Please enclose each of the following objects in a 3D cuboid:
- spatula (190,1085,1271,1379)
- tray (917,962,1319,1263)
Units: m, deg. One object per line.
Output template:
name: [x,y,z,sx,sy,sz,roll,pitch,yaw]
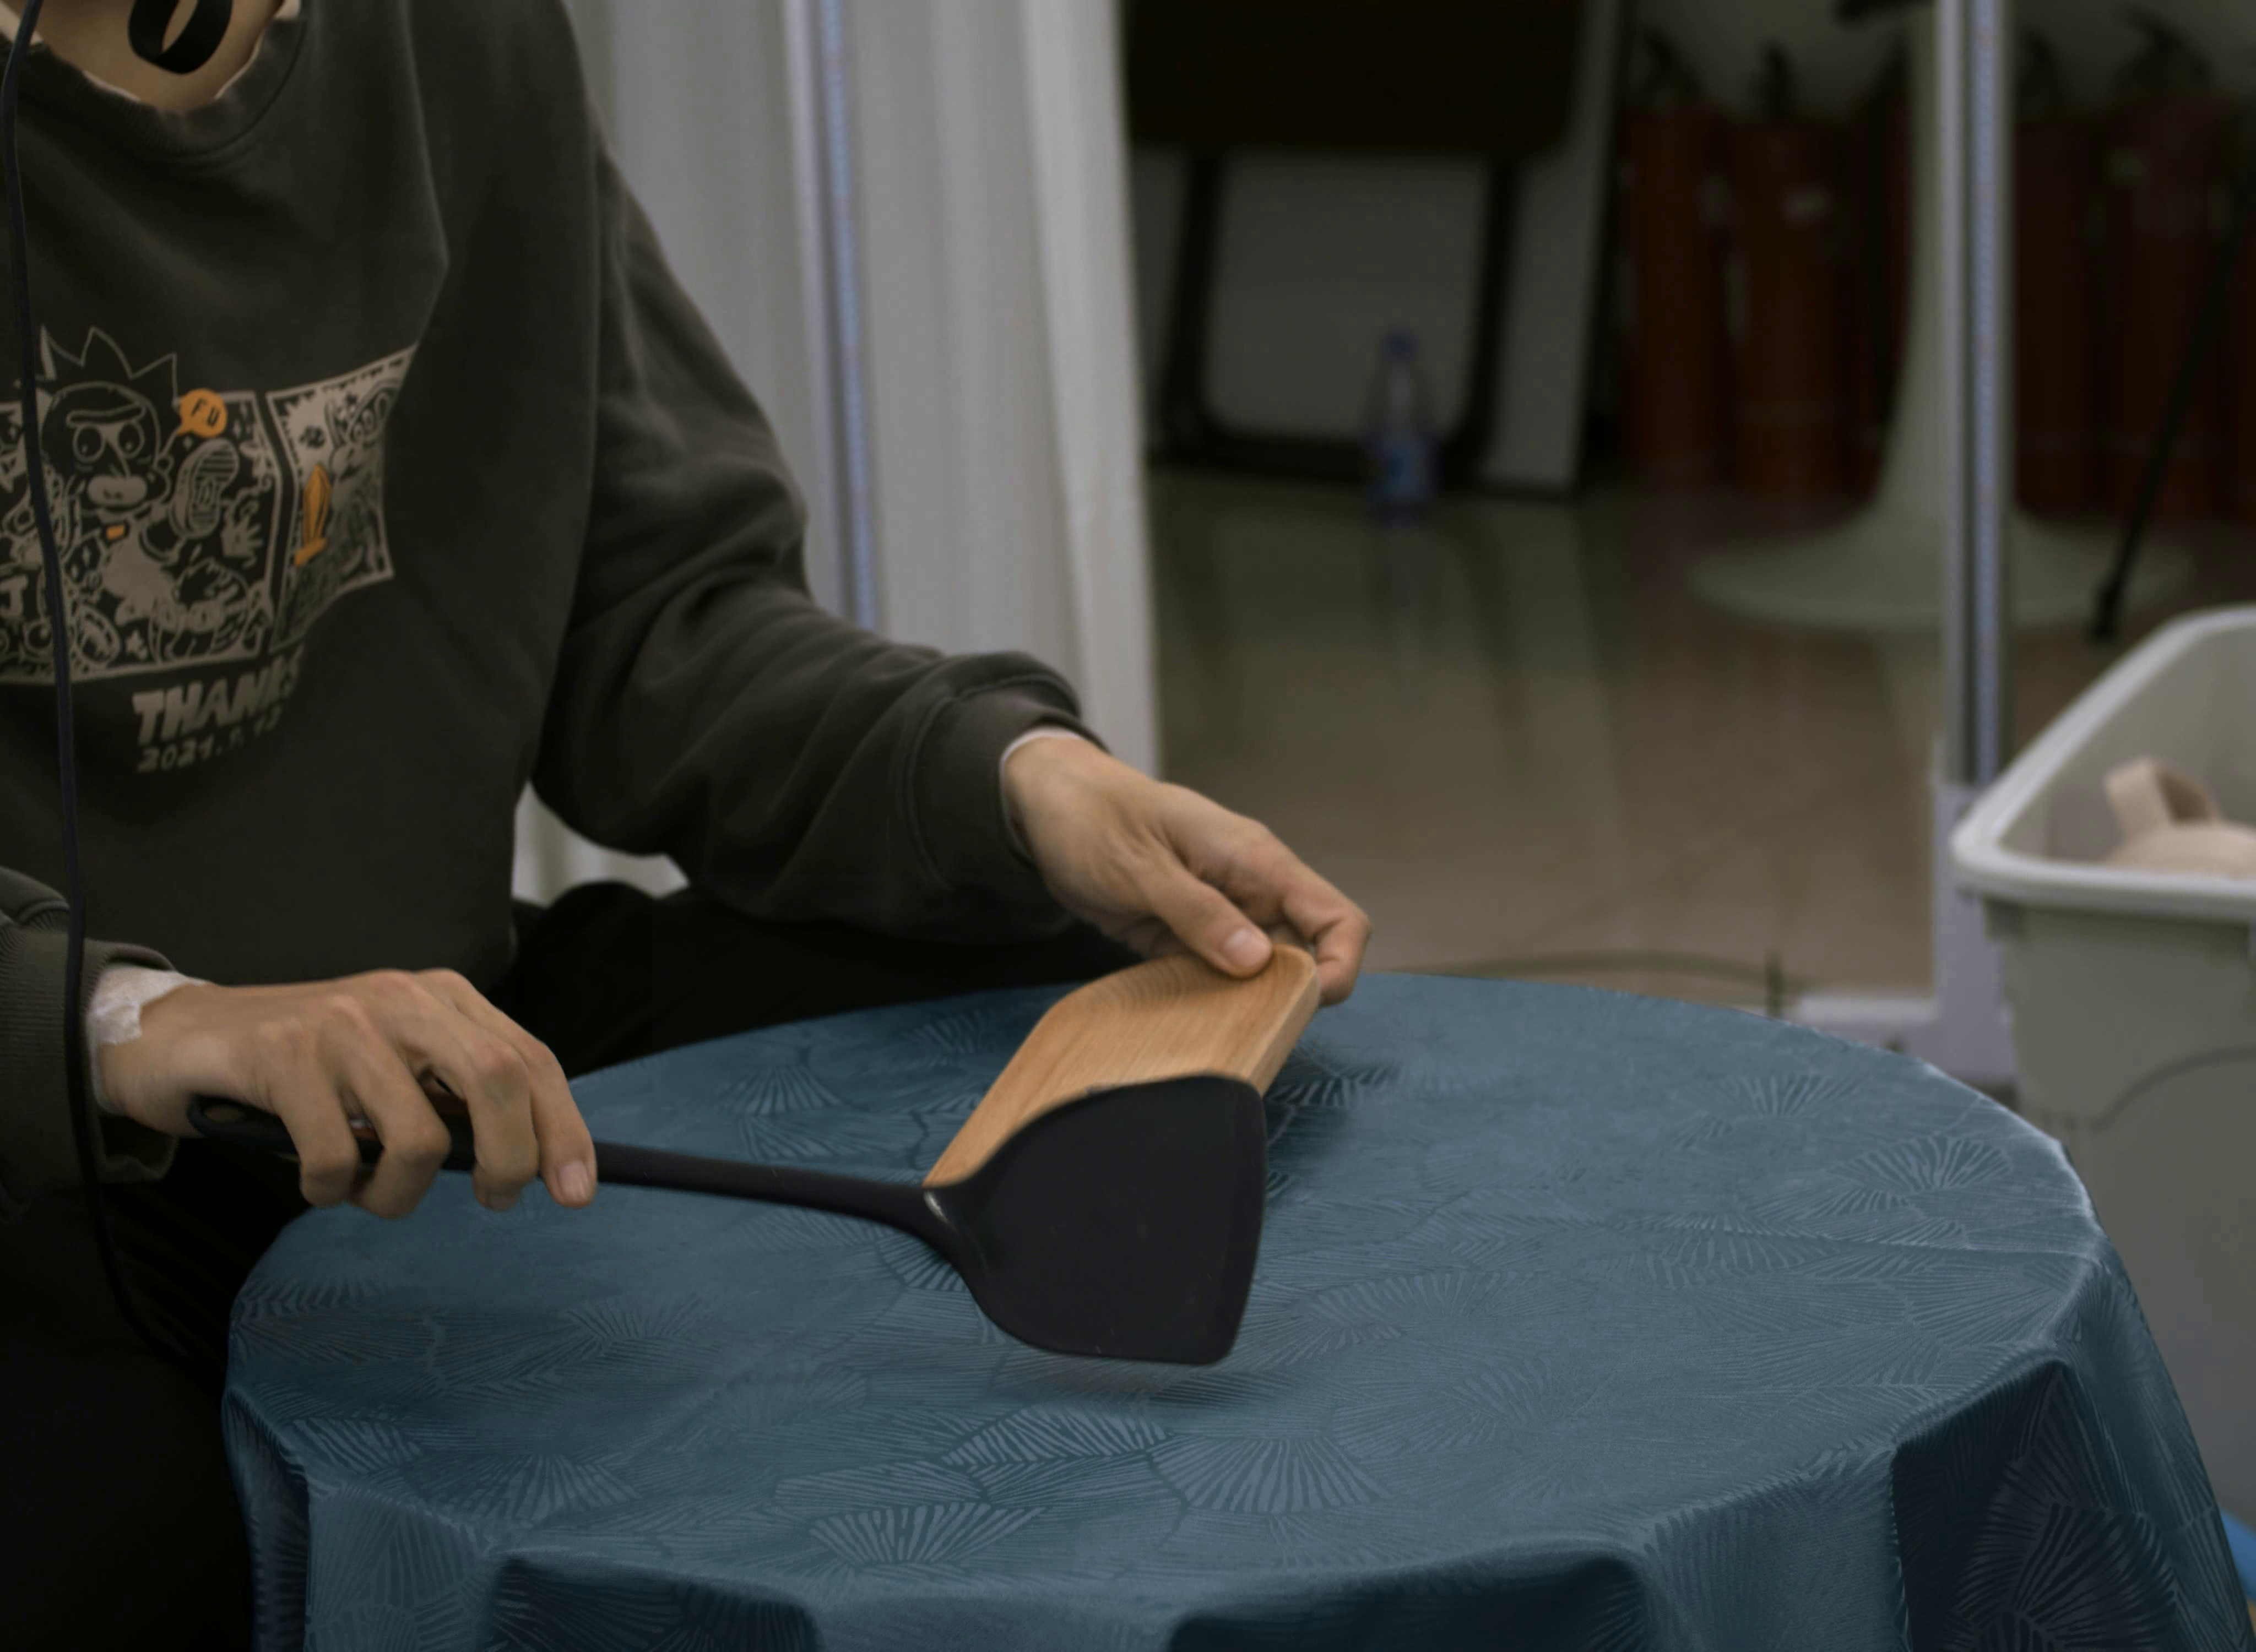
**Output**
spatula: [-0.119,0.106,1.608,0.322,0.040,0.100,9,55,1]
tray: [0.000,0.095,1.791,0.101,0.020,0.230,-10,18,20]
